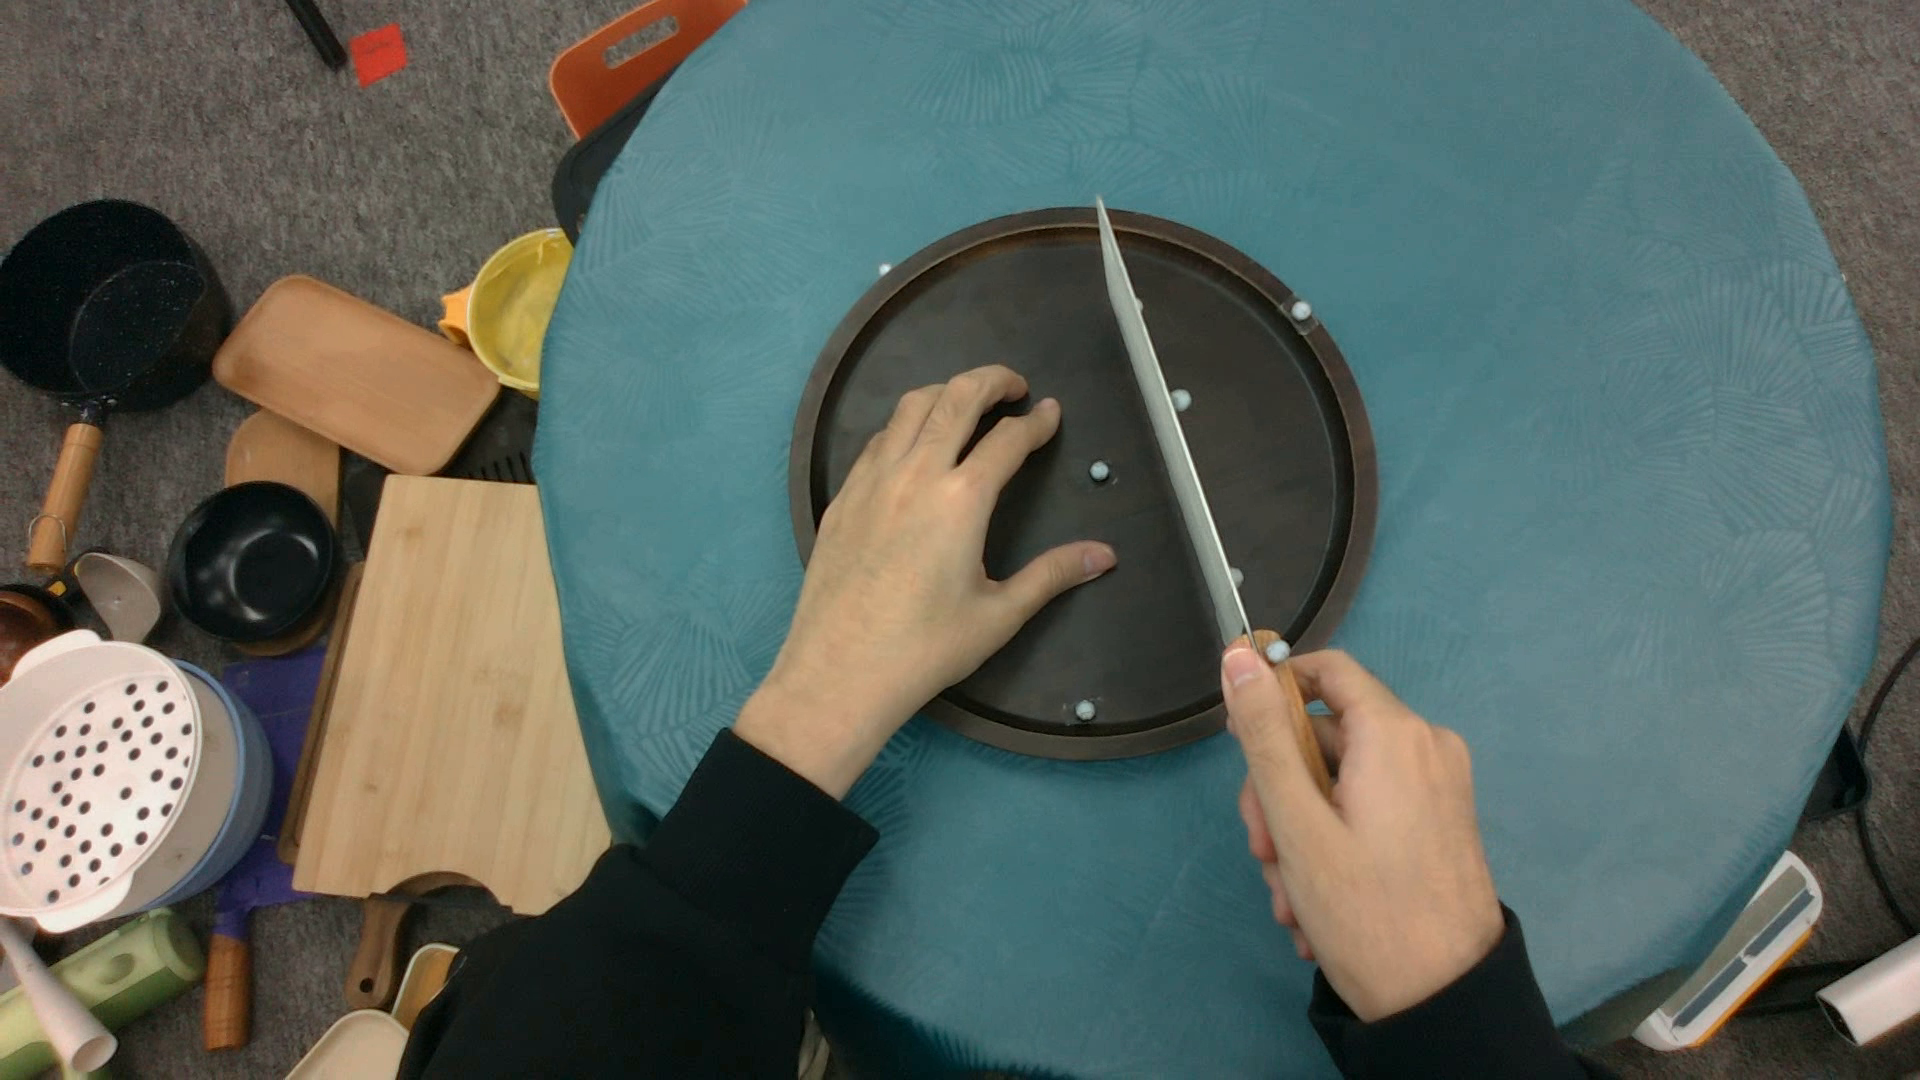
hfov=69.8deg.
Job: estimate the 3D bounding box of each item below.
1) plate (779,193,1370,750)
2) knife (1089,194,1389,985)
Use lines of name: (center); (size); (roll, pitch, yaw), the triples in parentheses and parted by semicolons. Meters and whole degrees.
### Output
plate: (0.049, -0.034, 0.597); (0.255, 0.029, 0.255); (0, 72, 0)
knife: (0.096, 0.013, 0.524); (0.021, 0.093, 0.306); (-17, 71, 3)
